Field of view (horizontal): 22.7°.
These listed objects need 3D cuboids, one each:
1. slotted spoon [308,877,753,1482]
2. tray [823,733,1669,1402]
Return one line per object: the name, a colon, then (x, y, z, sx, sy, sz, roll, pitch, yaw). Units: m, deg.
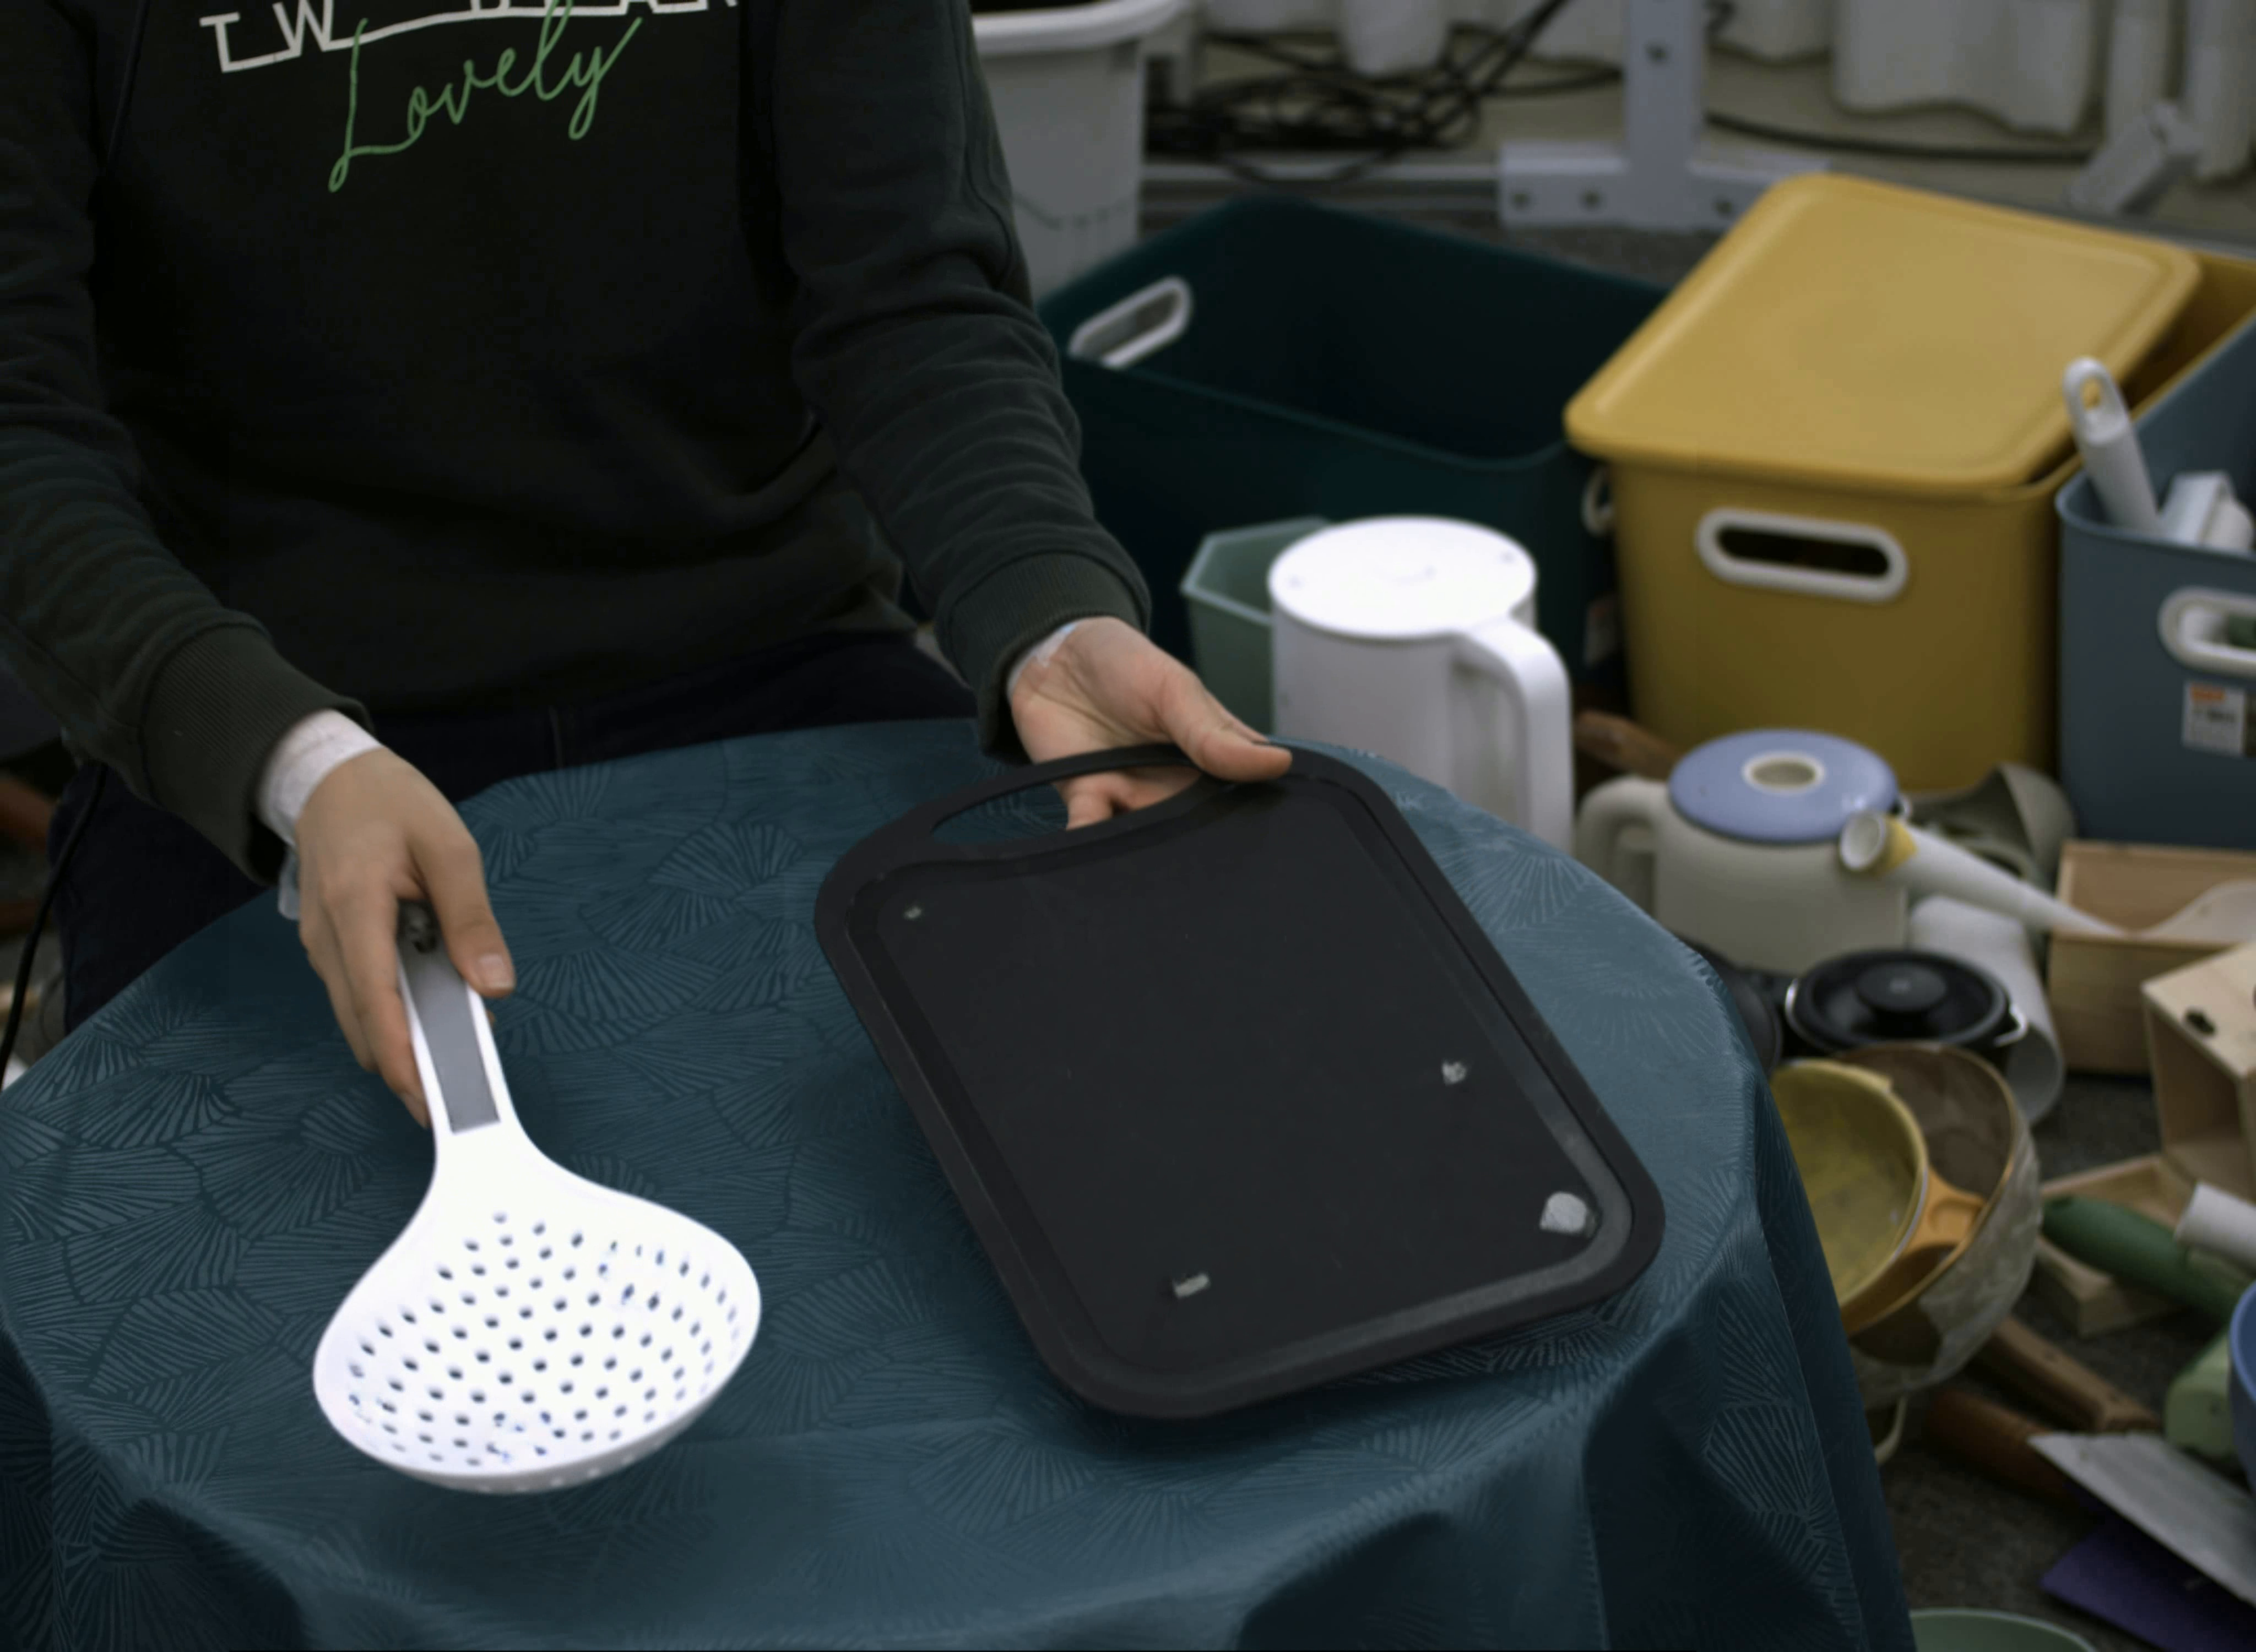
slotted spoon: (-0.205, 0.106, 1.785, 0.136, 0.045, 0.354, -13, 34, -9)
tray: (0.029, 0.068, 1.849, 0.211, 0.009, 0.329, -14, 39, -15)
